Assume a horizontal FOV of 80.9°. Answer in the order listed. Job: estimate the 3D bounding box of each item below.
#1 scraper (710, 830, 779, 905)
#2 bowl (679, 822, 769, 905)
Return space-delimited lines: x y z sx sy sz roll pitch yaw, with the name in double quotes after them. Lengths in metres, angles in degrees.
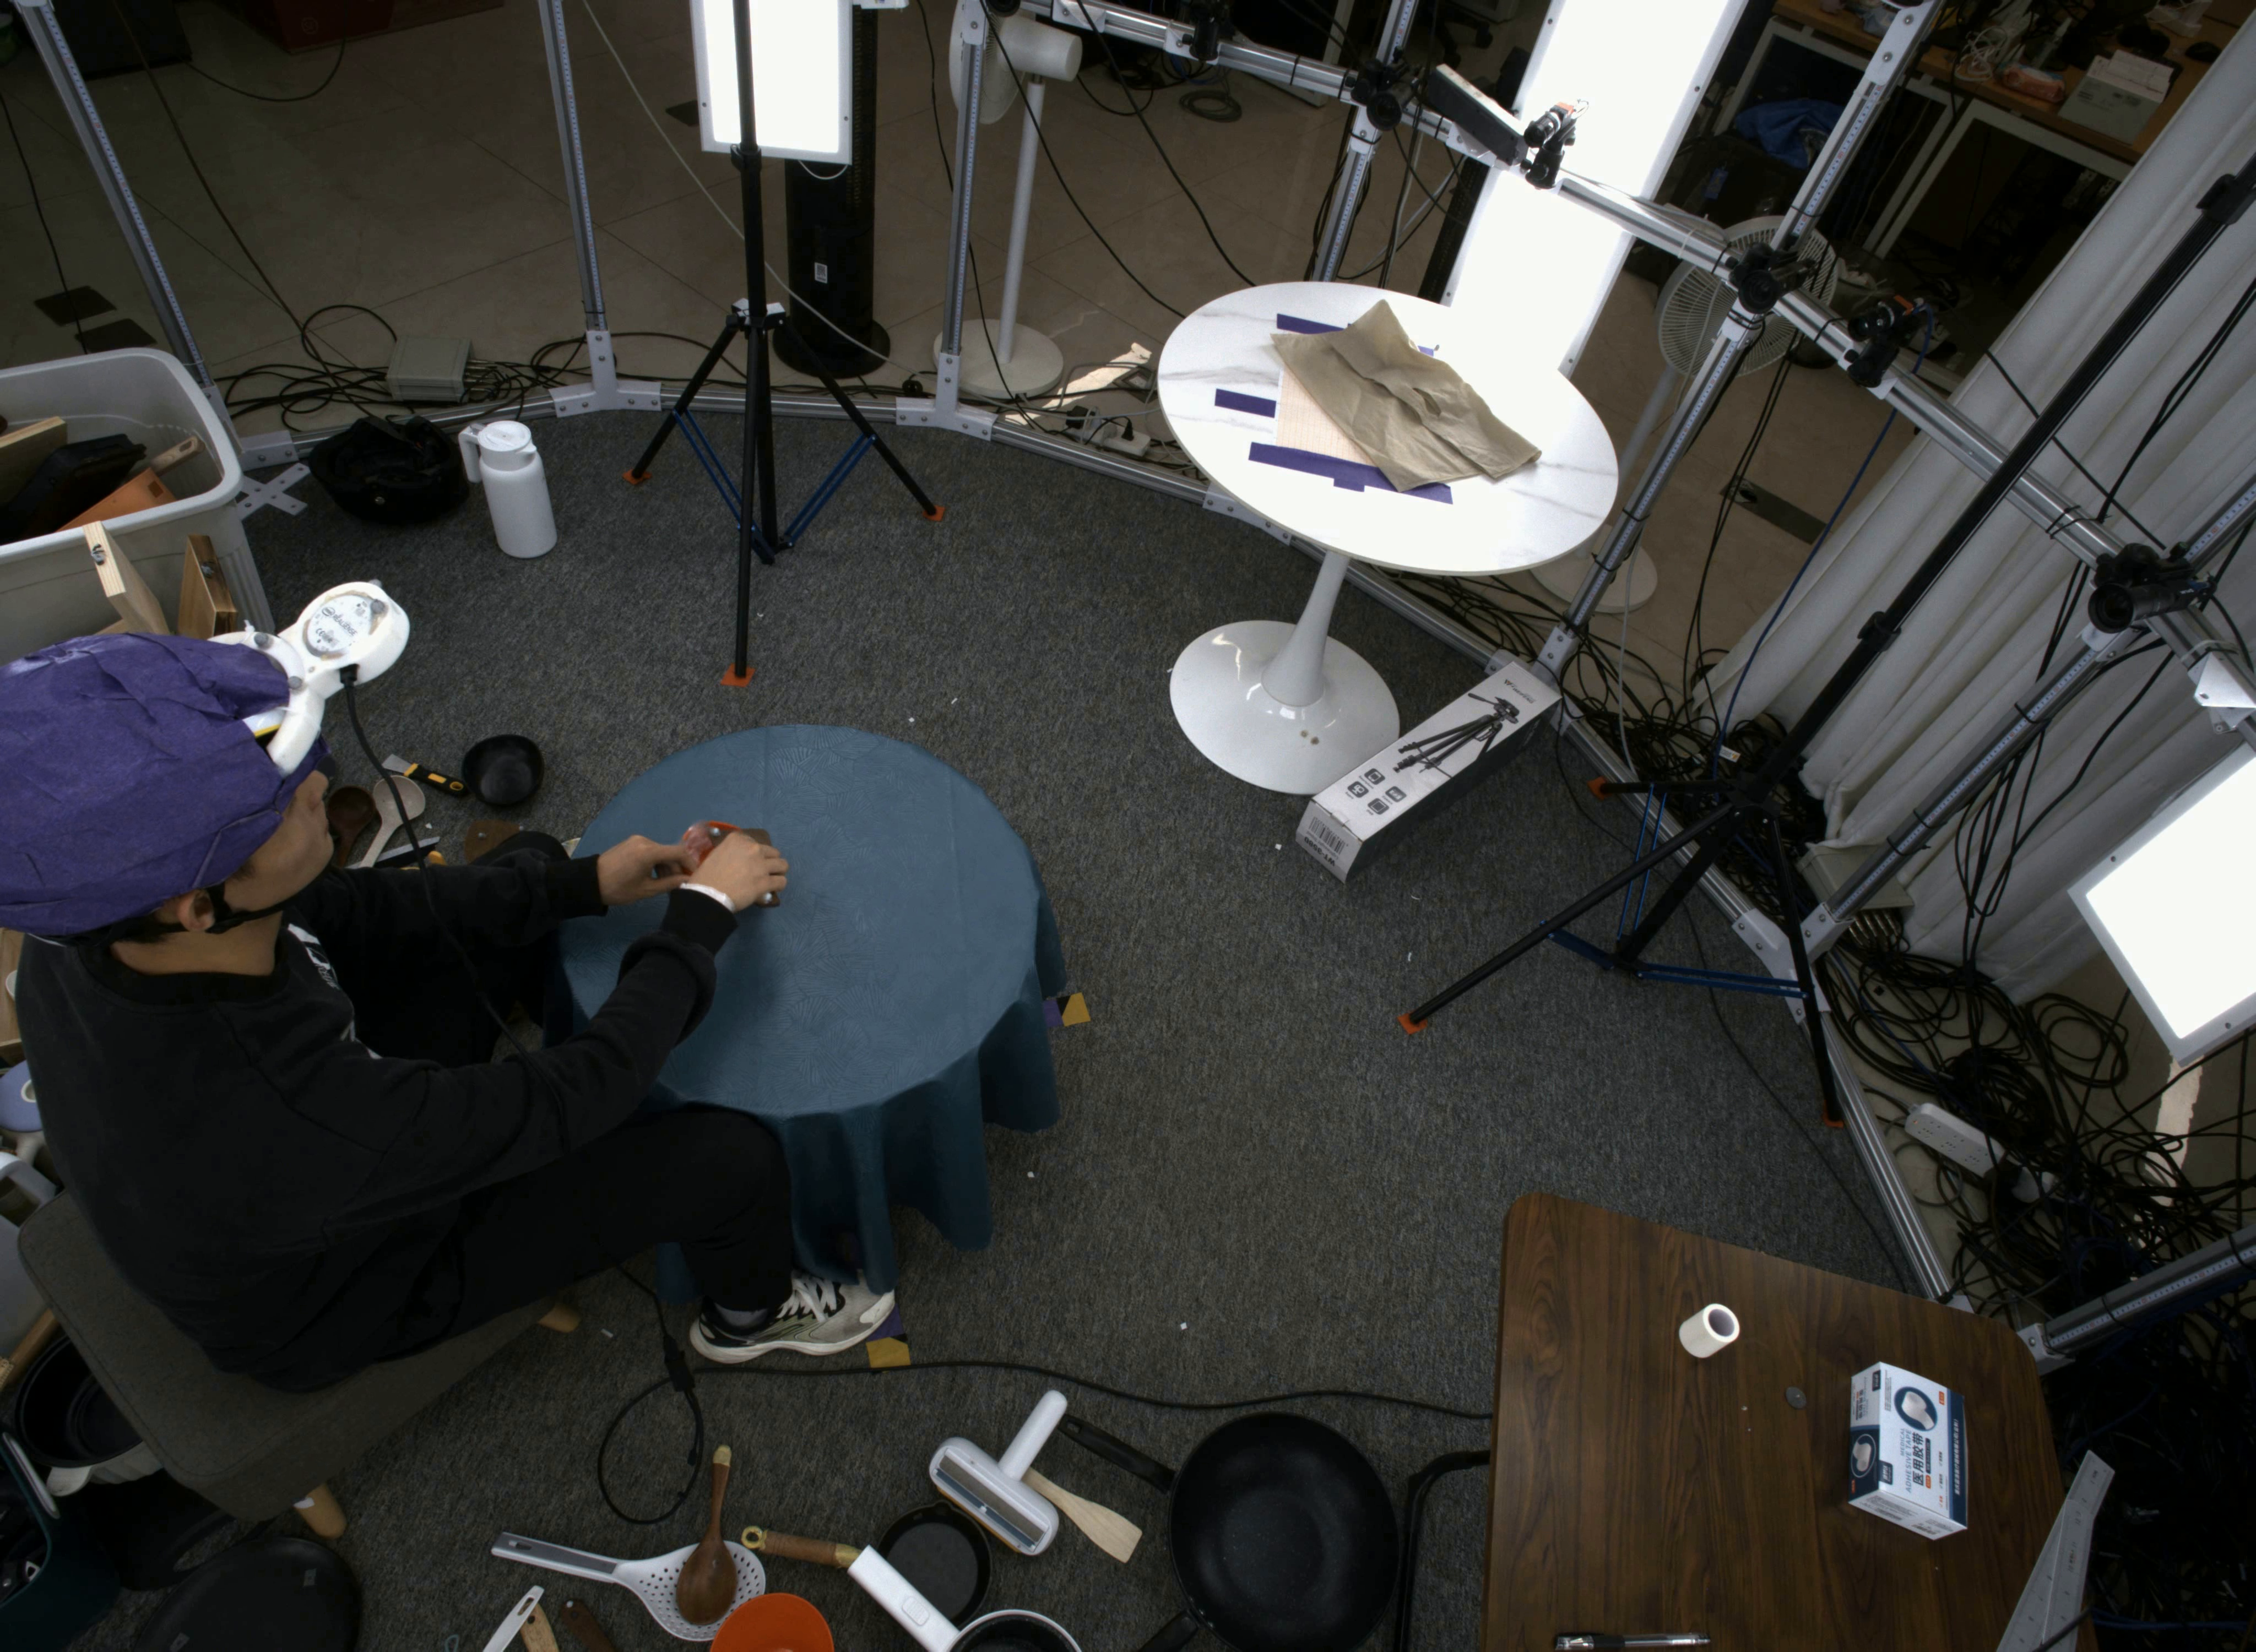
-0.455 0.047 1.564 0.077 0.011 0.204 1 23 -27 "scraper"
-0.512 0.052 1.621 0.120 0.052 0.116 24 36 -17 "bowl"
